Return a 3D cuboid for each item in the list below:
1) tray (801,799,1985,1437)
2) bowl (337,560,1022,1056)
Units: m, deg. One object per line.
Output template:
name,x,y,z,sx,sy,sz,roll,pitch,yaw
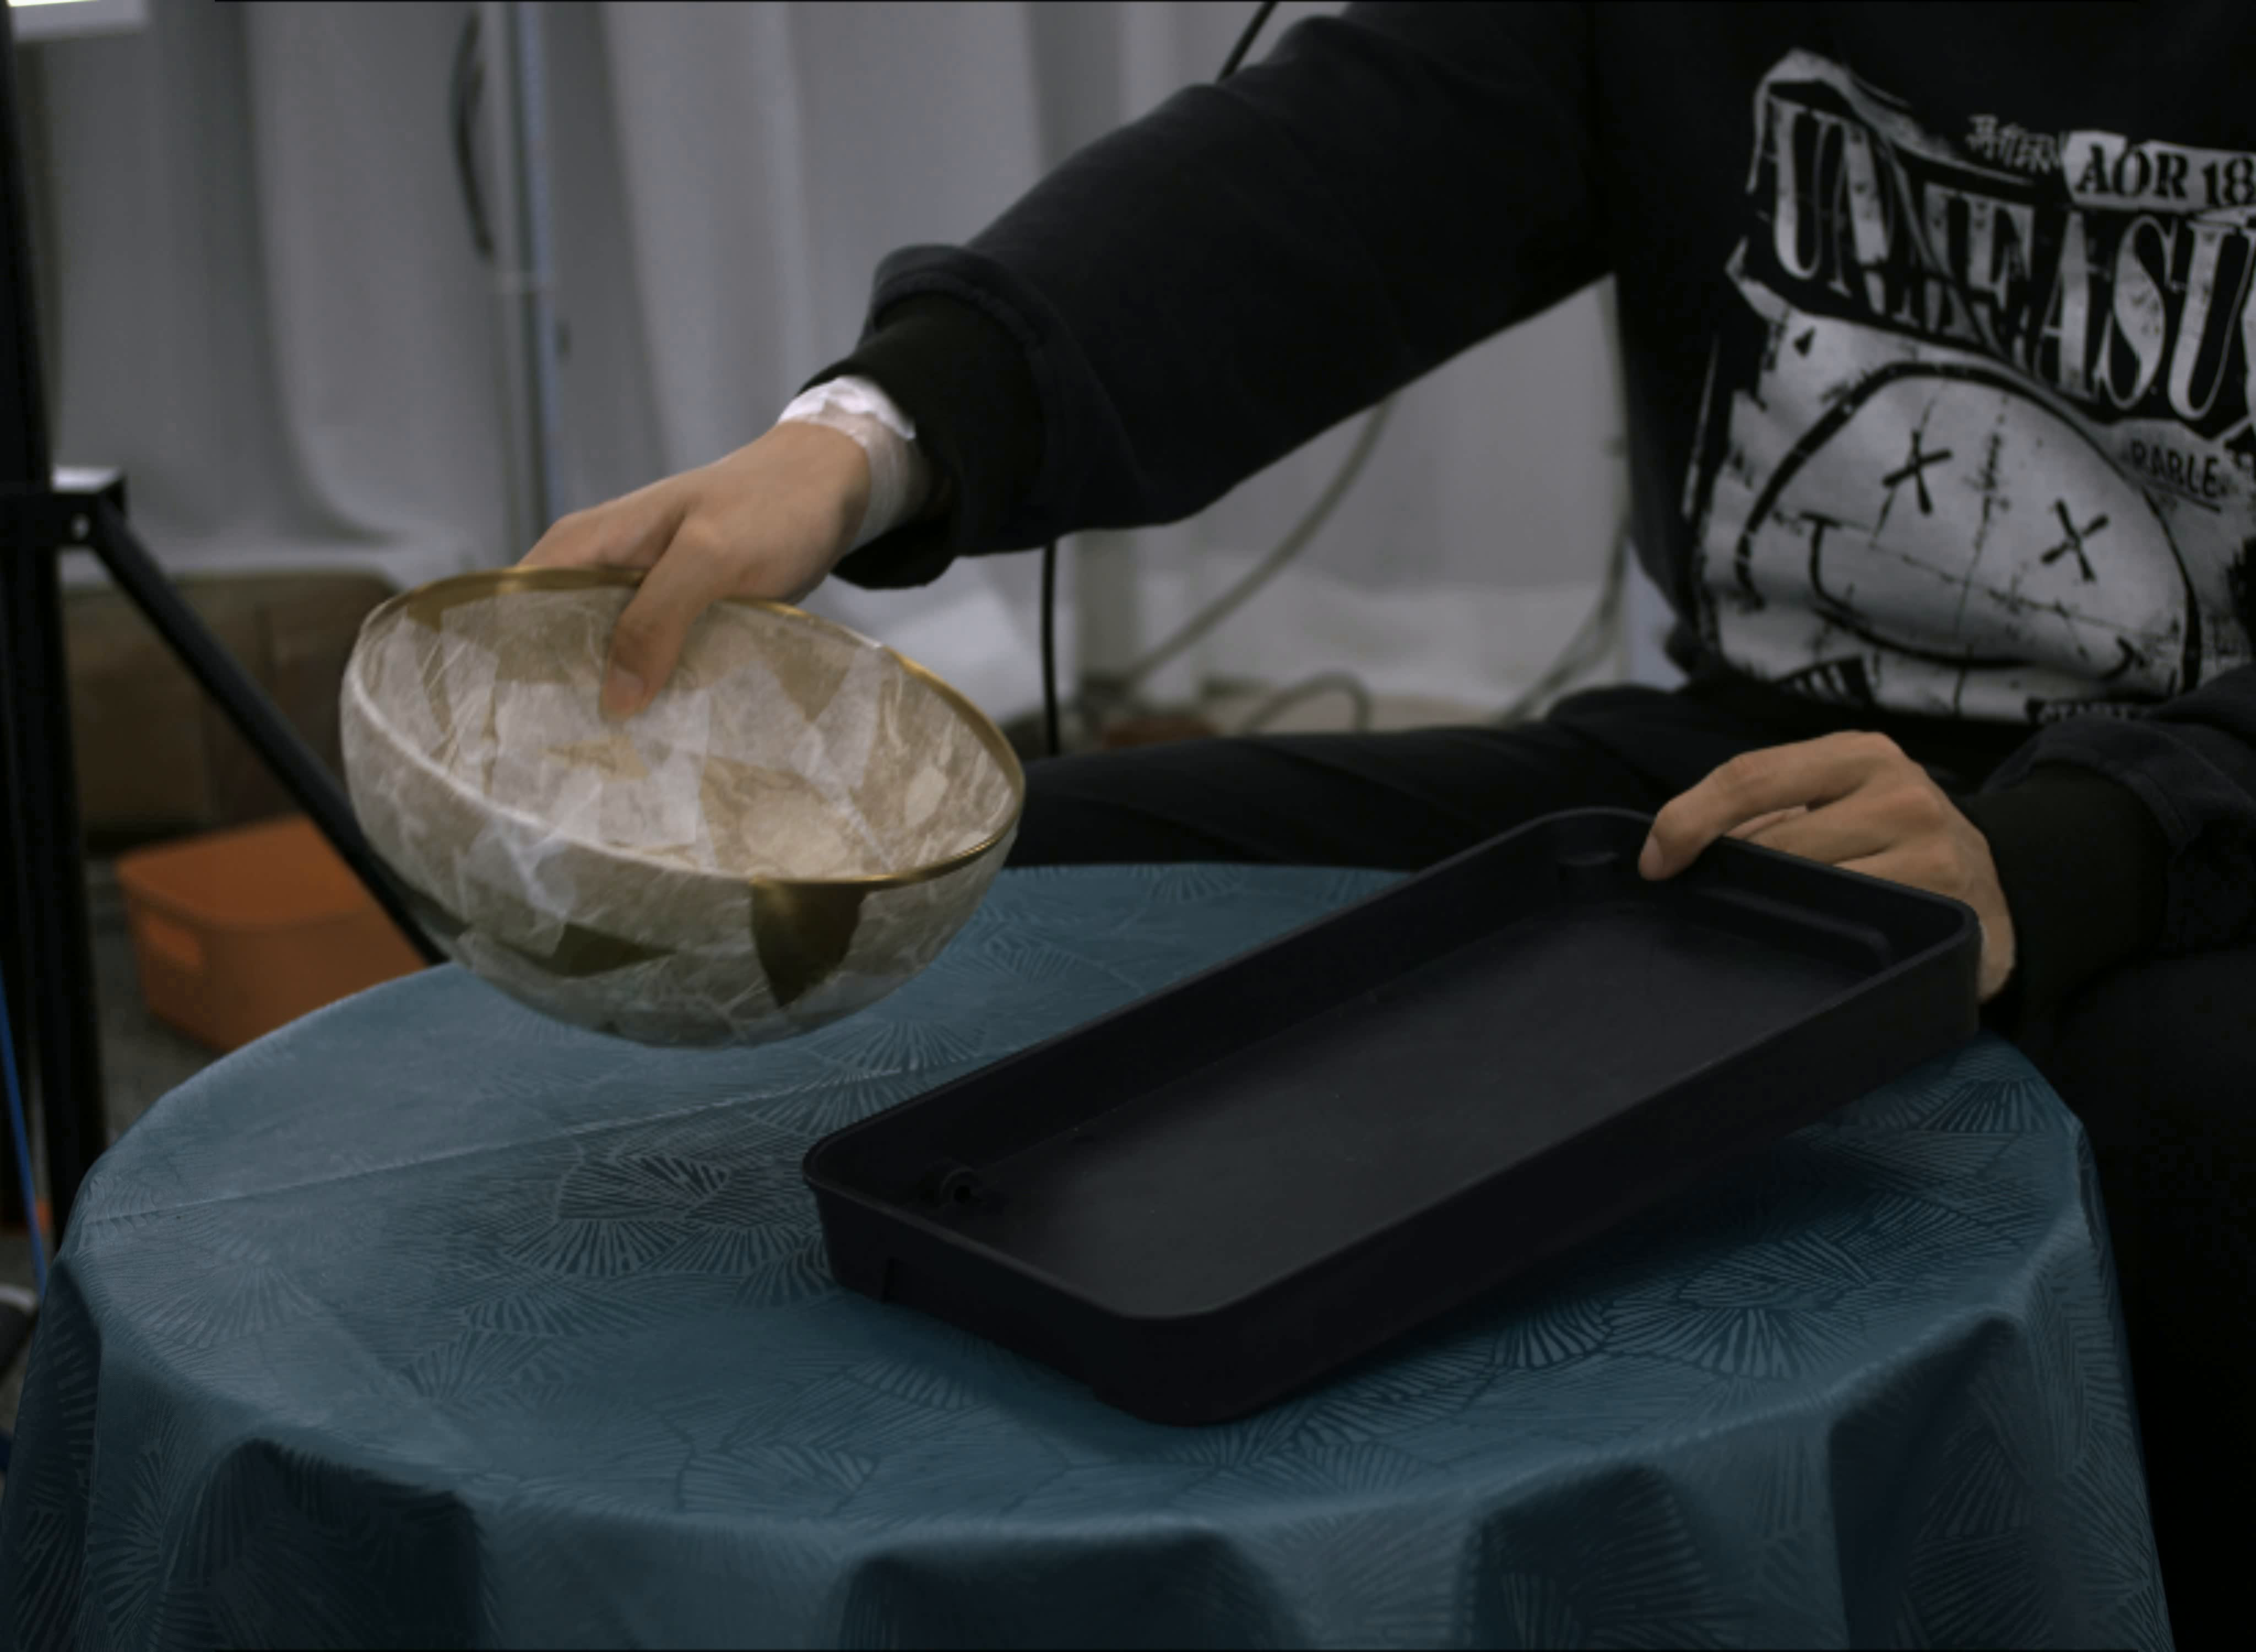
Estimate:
tray,0.080,0.076,1.515,0.312,0.037,0.188,-23,25,-30
bowl,-0.135,0.008,1.573,0.213,0.095,0.216,11,24,-6
